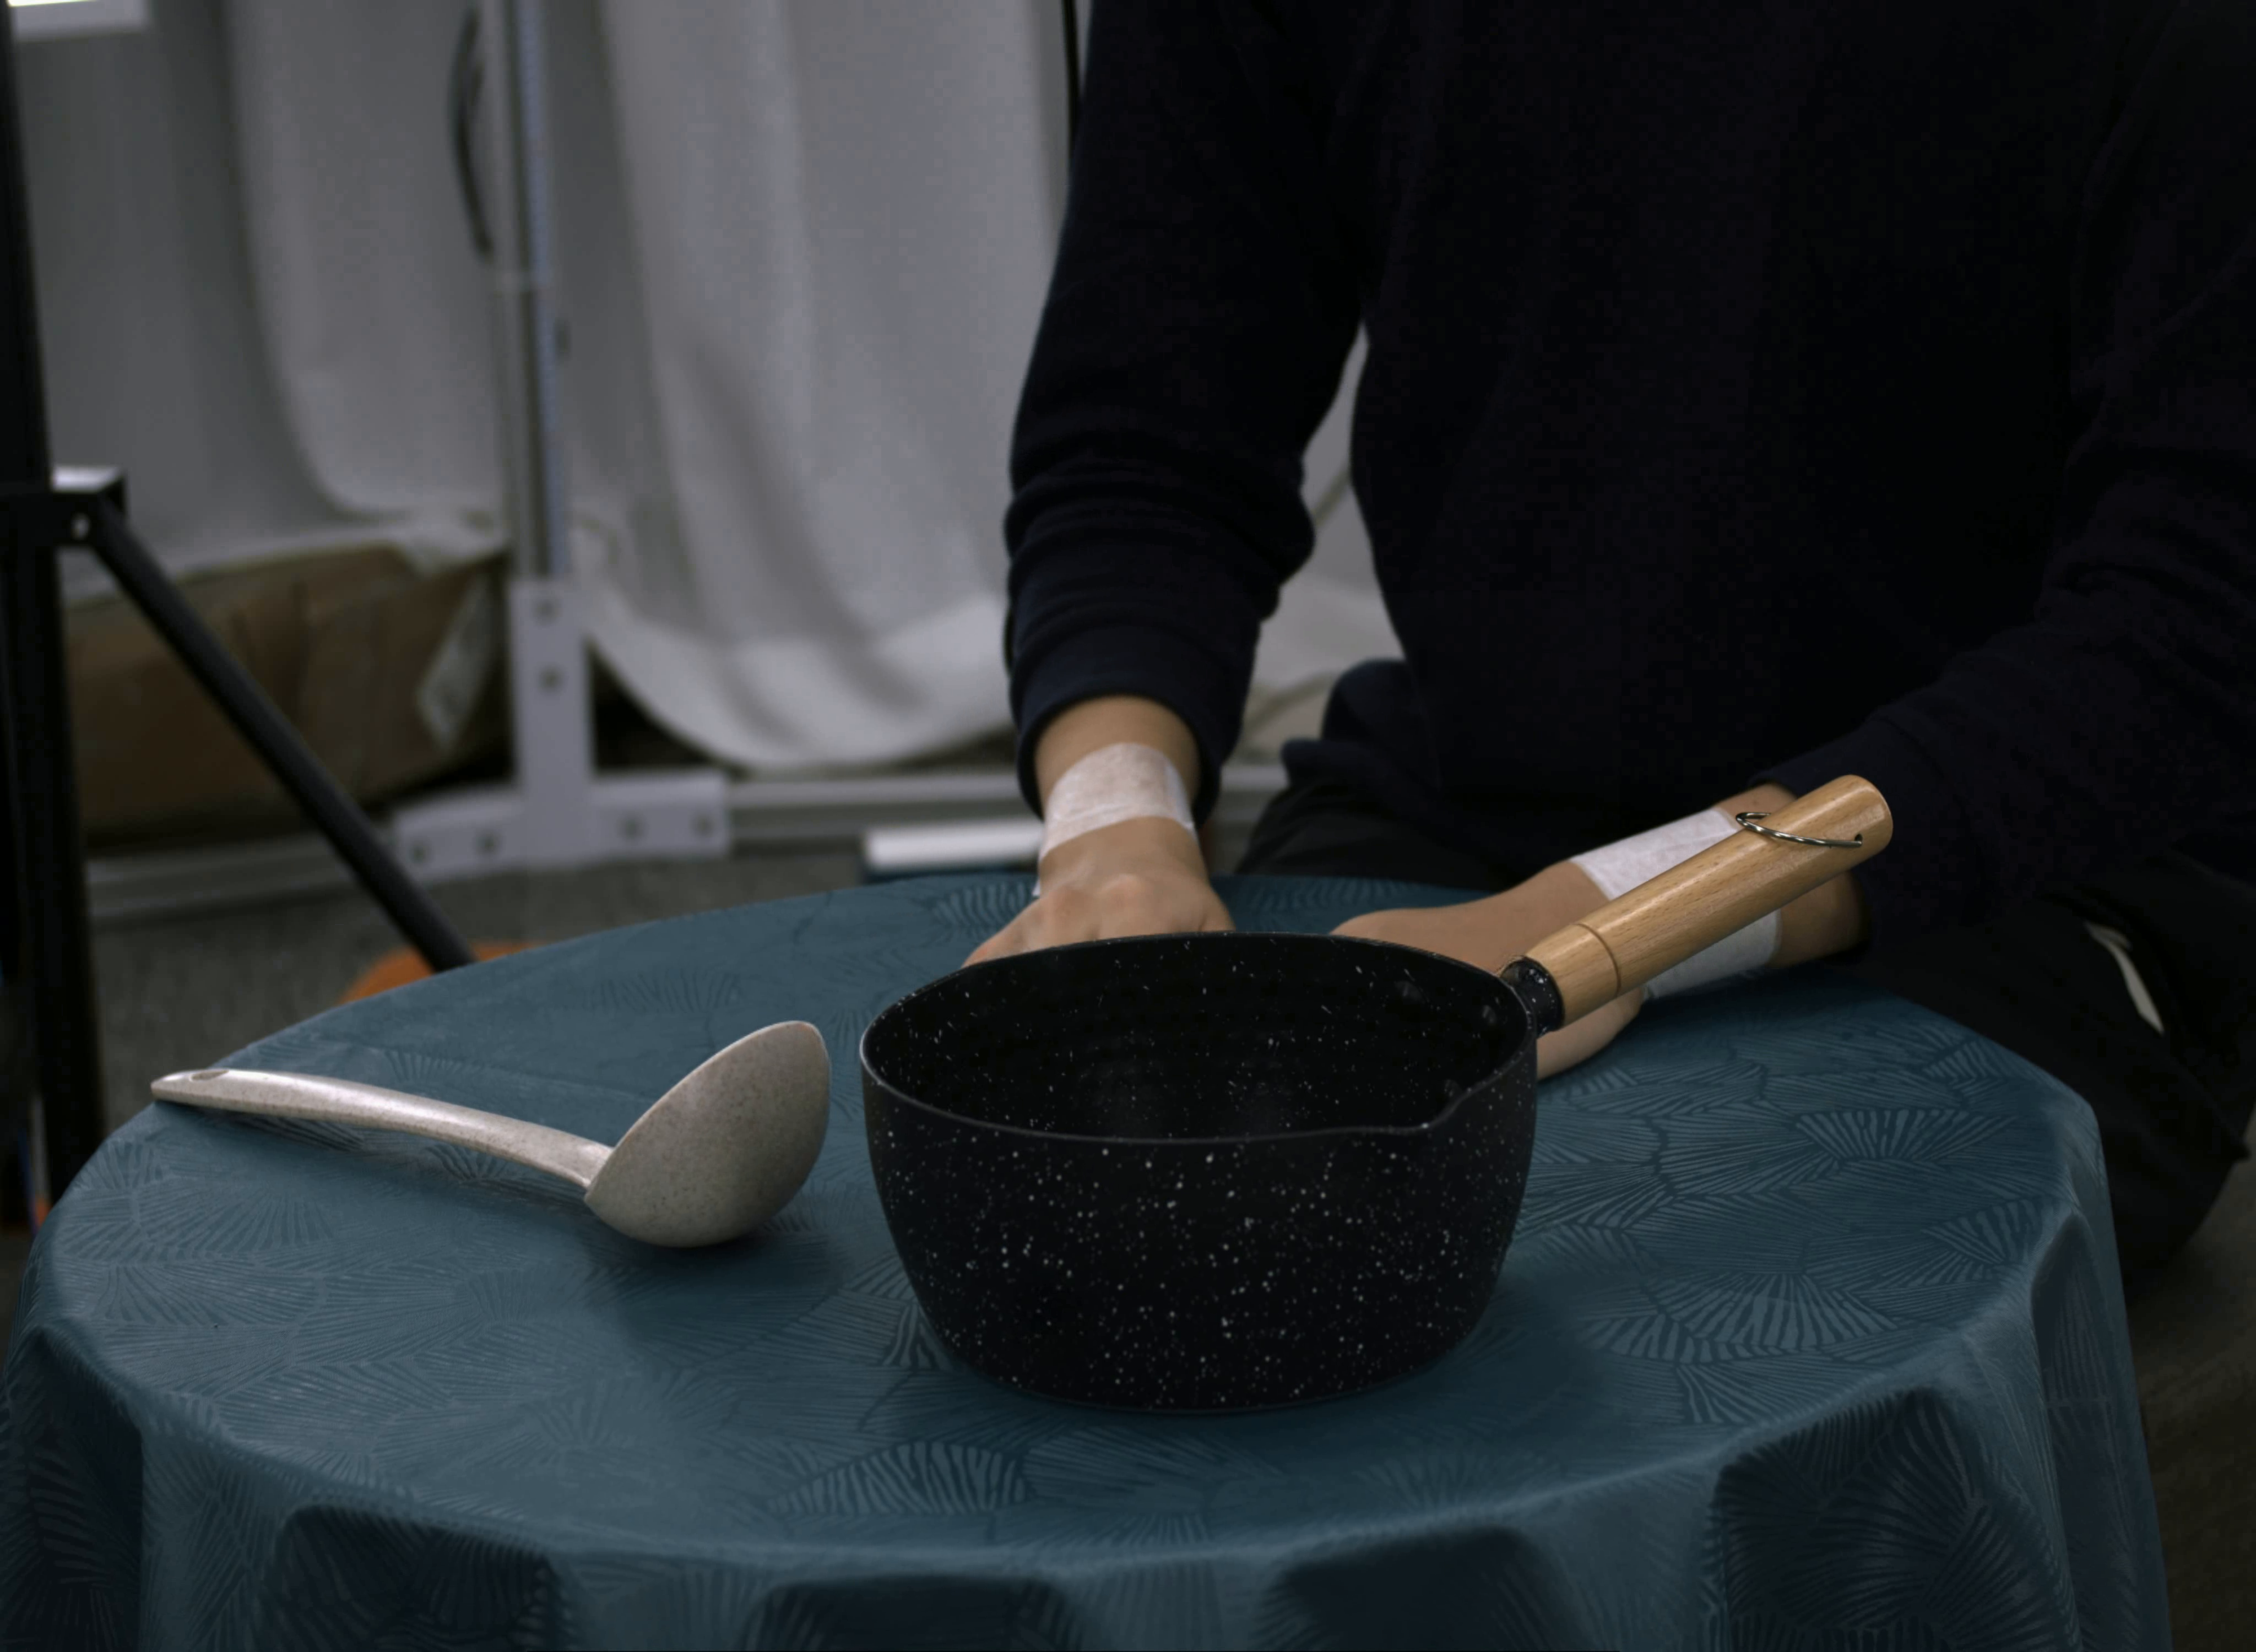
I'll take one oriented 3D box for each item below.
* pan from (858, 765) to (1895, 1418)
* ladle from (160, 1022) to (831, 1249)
[{"bbox_3d":[0.083,0.069,1.485,0.335,0.108,0.212,-15,19,-33],"label":"pan"},{"bbox_3d":[-0.202,0.072,1.598,0.281,0.069,0.087,11,26,40],"label":"ladle"}]
